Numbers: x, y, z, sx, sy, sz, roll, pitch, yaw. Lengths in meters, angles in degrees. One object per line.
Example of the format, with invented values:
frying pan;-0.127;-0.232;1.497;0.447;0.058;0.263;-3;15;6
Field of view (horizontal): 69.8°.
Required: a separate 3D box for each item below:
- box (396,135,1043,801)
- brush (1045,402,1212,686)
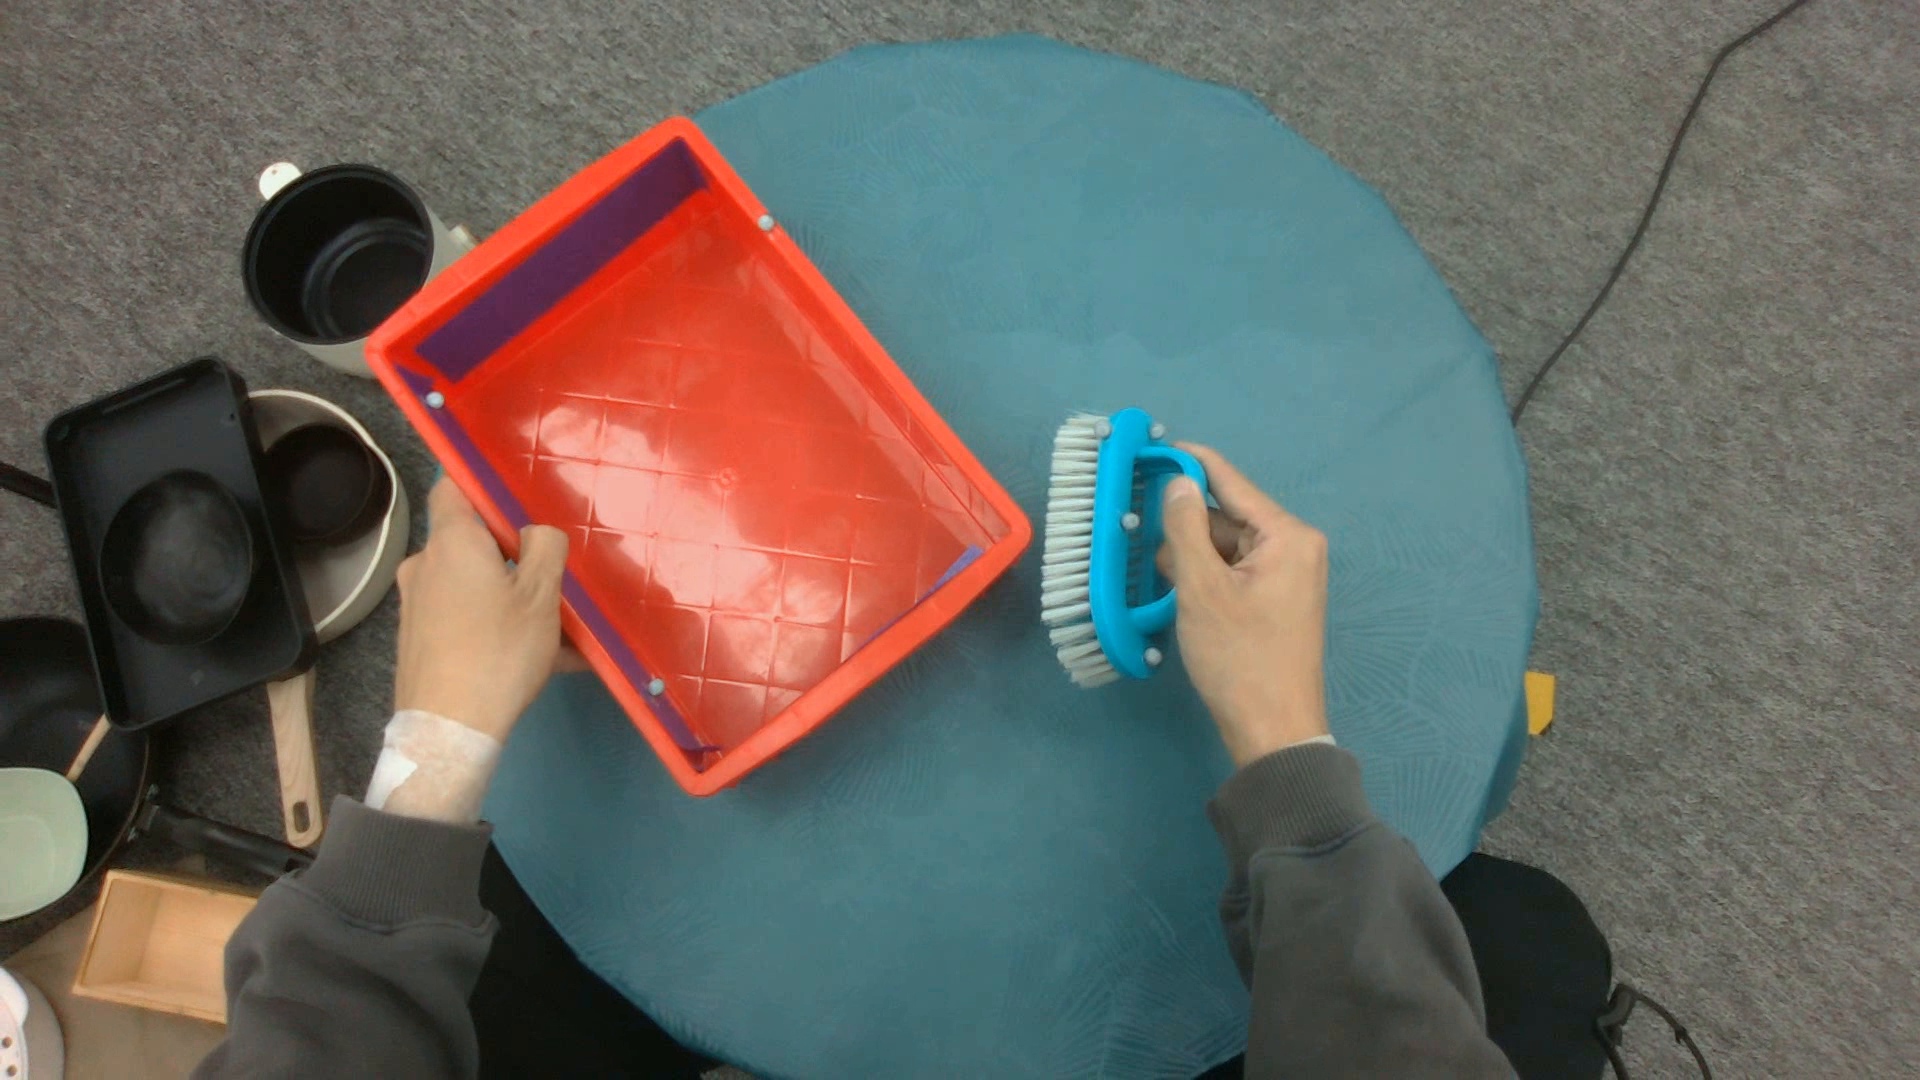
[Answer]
box;-0.122;-0.036;0.732;0.207;0.096;0.304;-37;77;-5
brush;0.088;0.001;0.662;0.063;0.084;0.142;-8;60;29
